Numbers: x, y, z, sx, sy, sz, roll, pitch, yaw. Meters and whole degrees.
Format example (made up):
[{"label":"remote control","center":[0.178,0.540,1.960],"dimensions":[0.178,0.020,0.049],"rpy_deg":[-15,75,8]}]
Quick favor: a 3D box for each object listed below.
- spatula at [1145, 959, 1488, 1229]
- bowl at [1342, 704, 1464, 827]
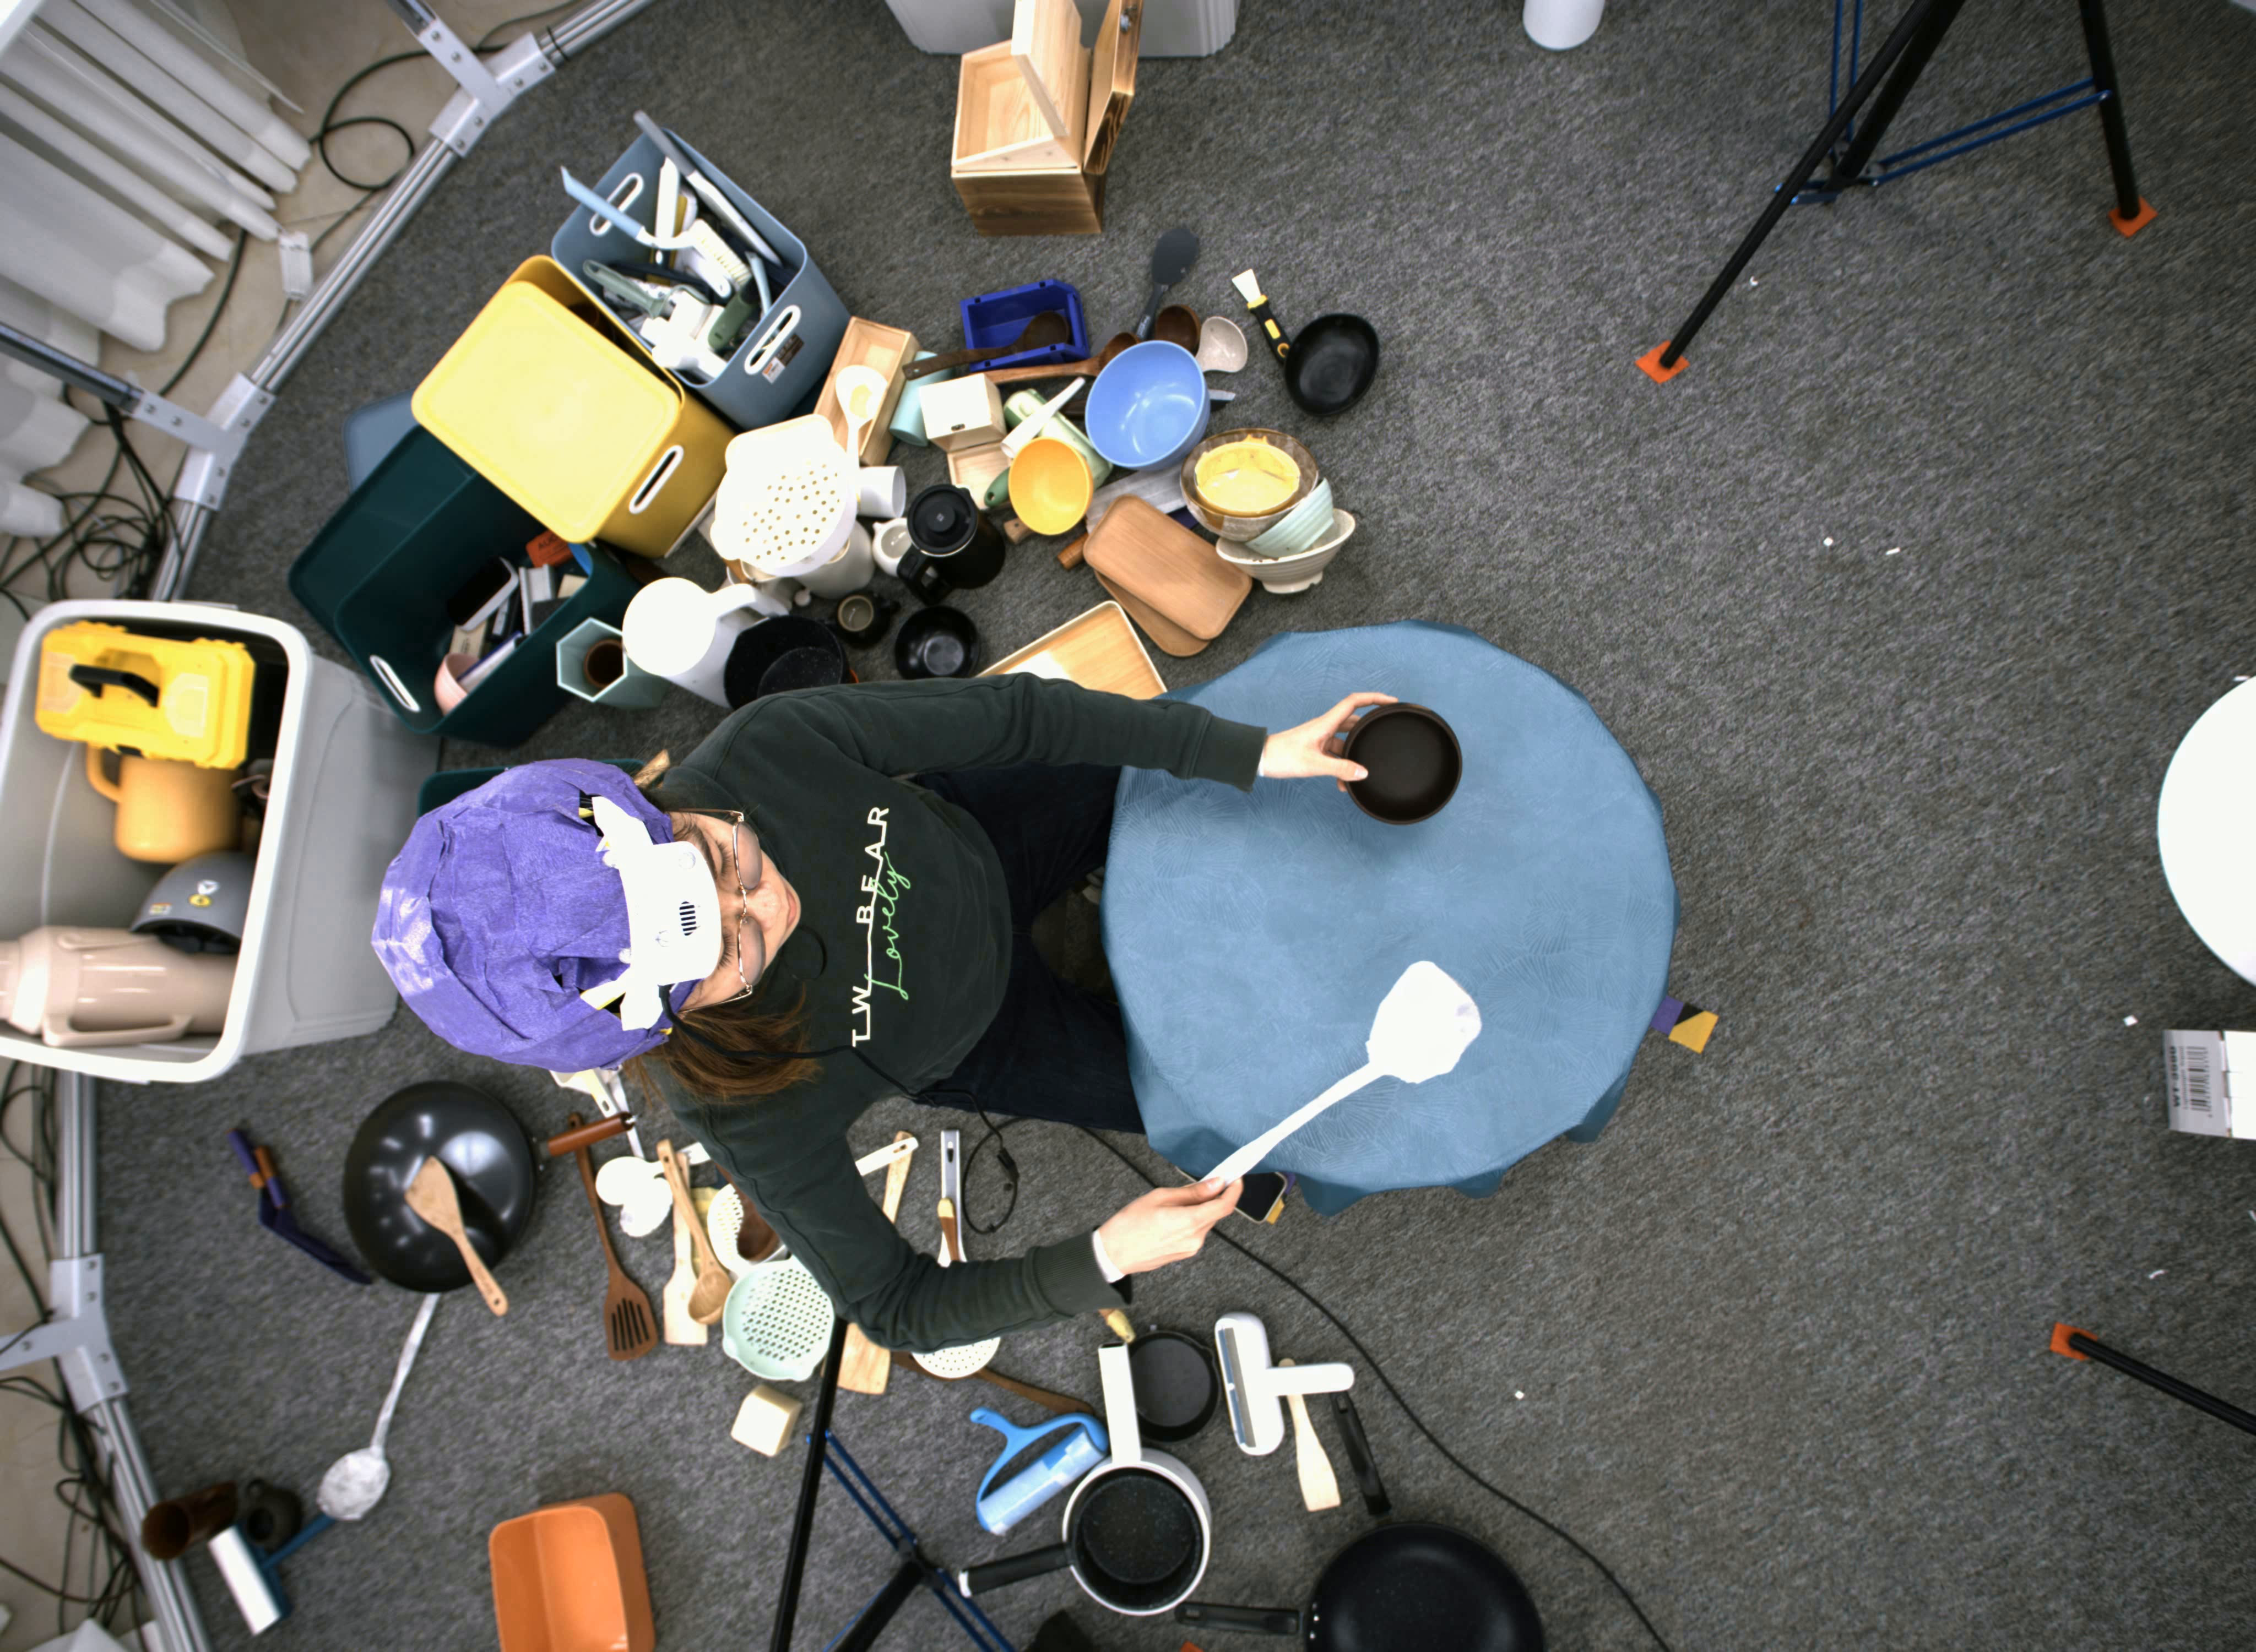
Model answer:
[{"label":"spatula","center":[0.163,0.254,1.254],"dimensions":[0.364,0.045,0.097],"rpy_deg":[-34,50,-2]},{"label":"bowl","center":[0.270,-0.064,1.353],"dimensions":[0.118,0.069,0.119],"rpy_deg":[2,105,9]}]
